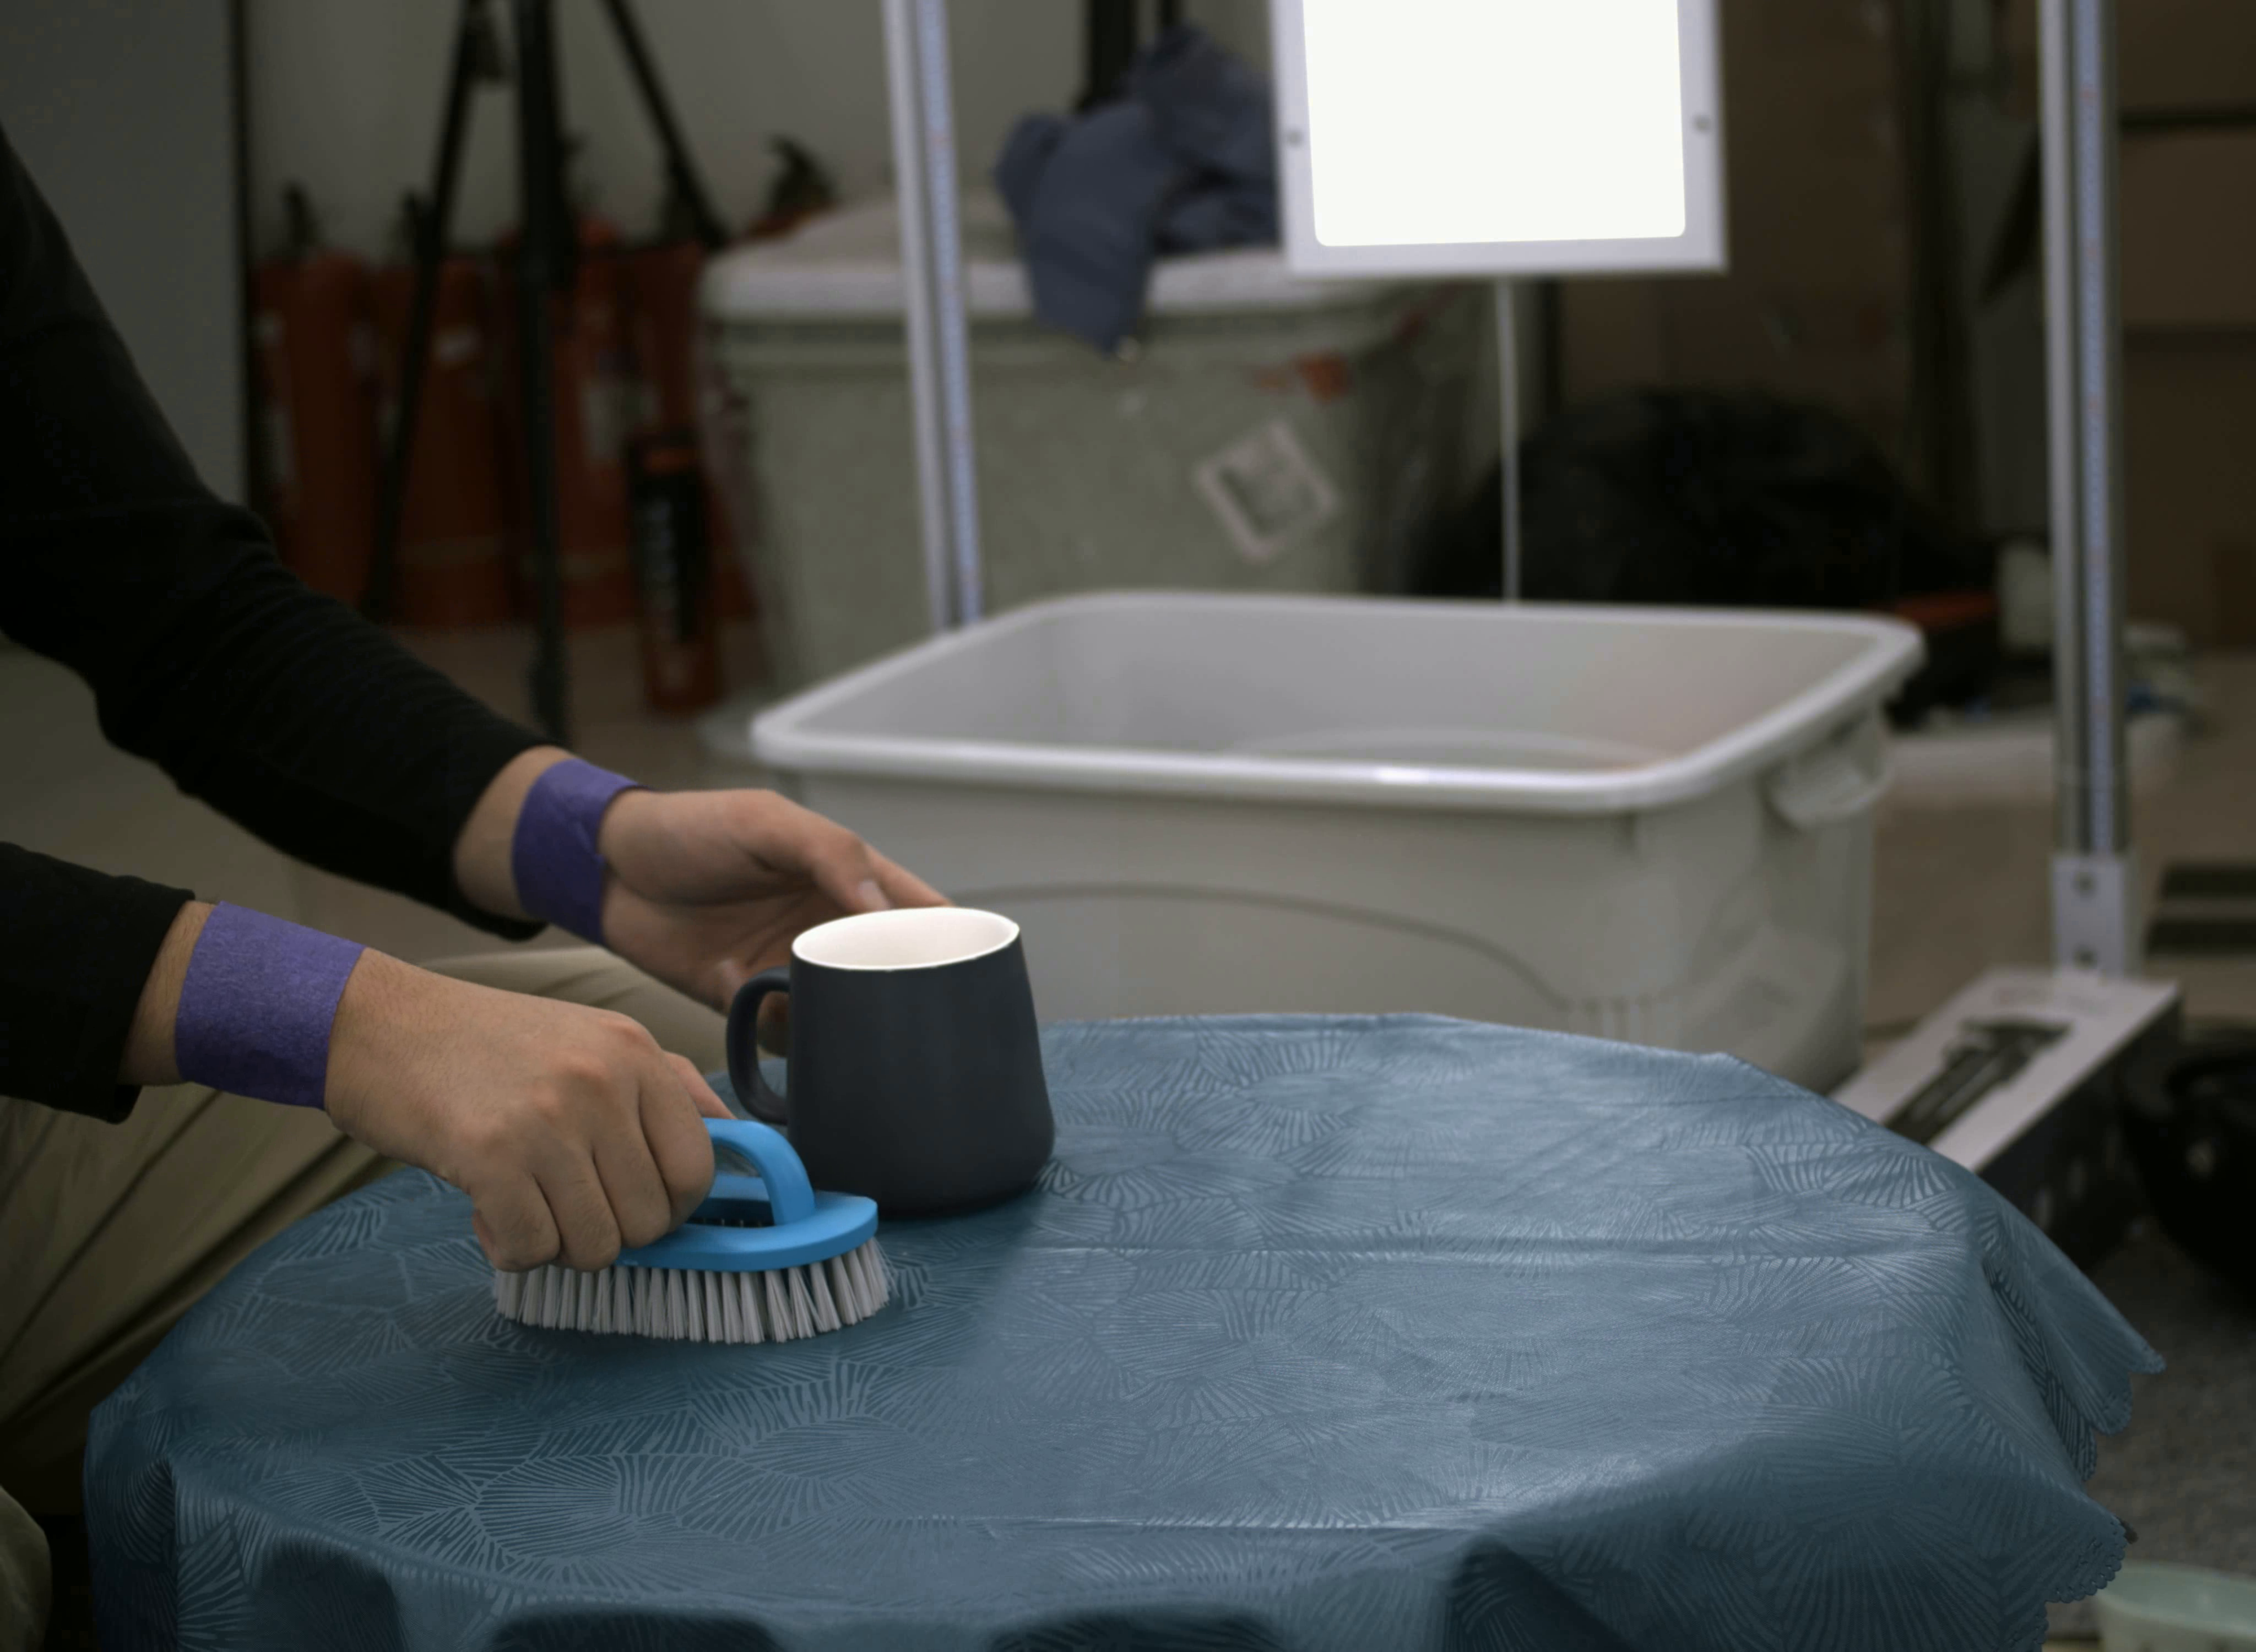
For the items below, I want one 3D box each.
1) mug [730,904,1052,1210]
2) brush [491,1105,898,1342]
[{"bbox_3d":[-0.087,0.078,1.924,0.125,0.090,0.091,7,17,33],"label":"mug"},{"bbox_3d":[-0.147,0.124,1.821,0.144,0.064,0.082,1,19,28],"label":"brush"}]
